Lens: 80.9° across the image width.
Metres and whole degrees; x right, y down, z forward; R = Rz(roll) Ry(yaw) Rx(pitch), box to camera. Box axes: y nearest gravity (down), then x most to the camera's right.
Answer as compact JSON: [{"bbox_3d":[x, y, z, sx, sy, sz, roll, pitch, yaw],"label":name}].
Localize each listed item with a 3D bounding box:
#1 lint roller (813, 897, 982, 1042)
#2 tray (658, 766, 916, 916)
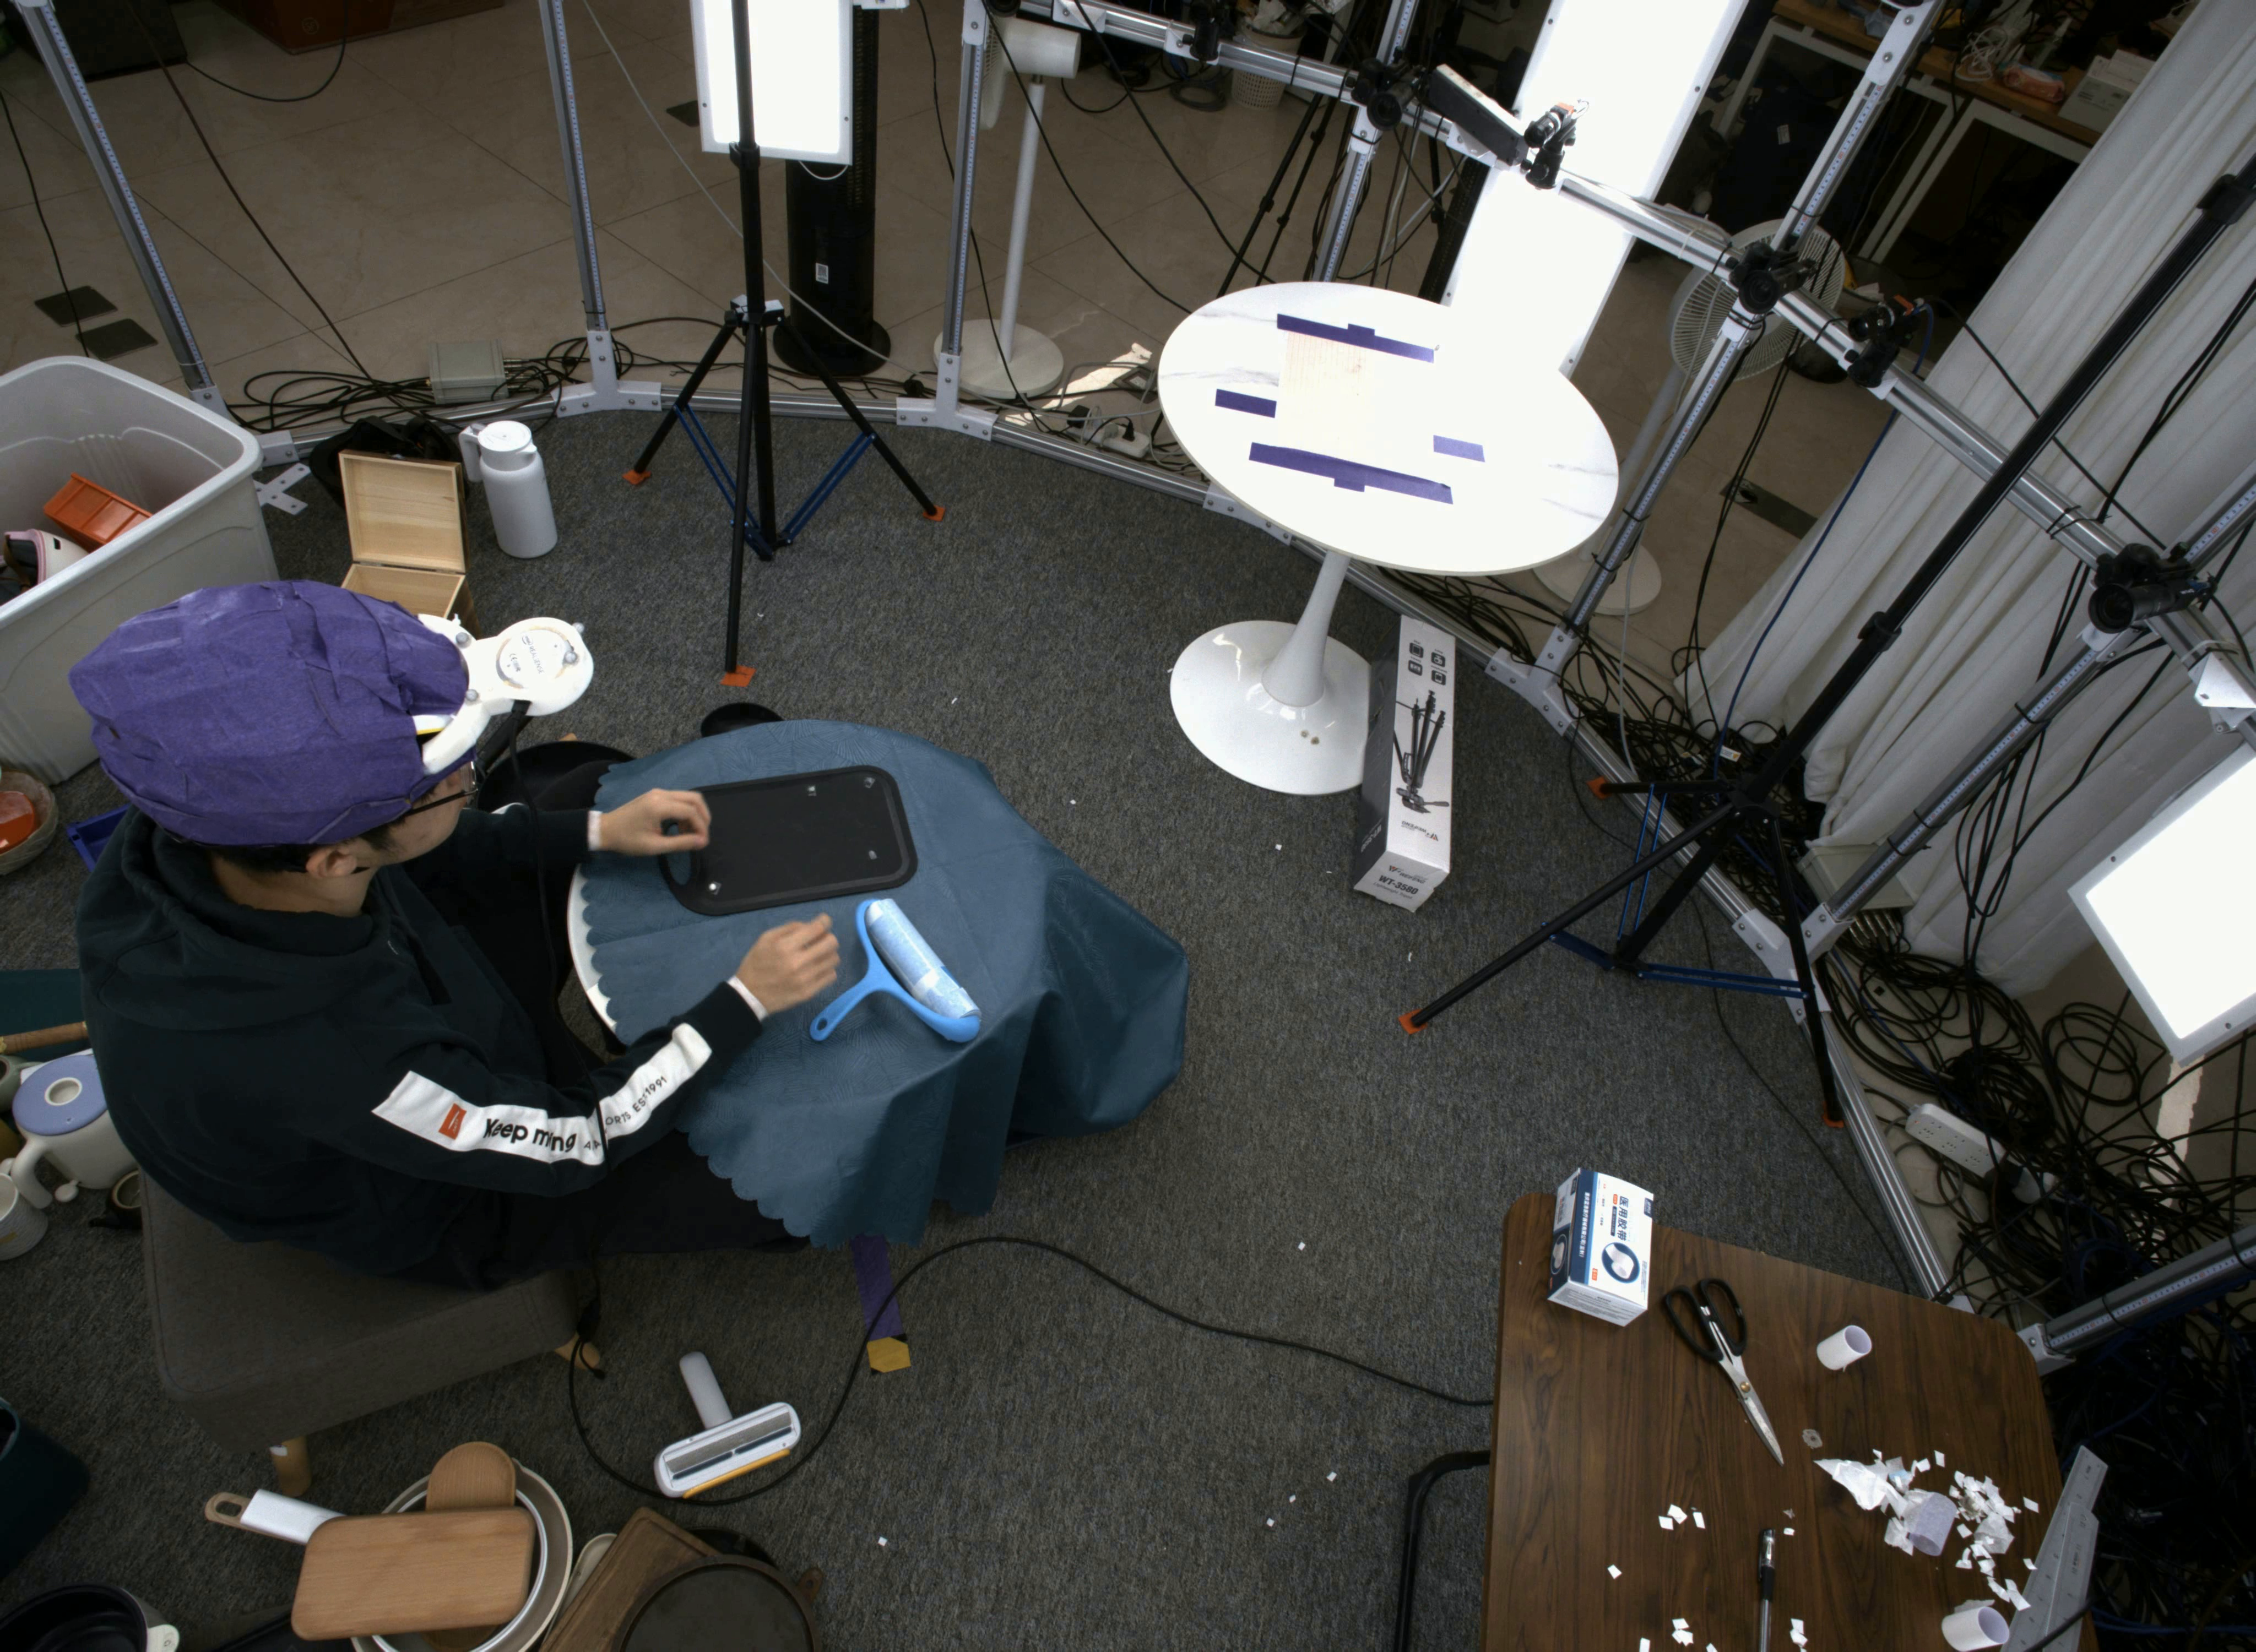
[{"bbox_3d":[-0.302,0.198,1.579,0.181,0.069,0.224,-32,69,-33],"label":"lint roller"},{"bbox_3d":[-0.452,0.015,1.707,0.327,0.010,0.206,-9,57,-20],"label":"tray"}]
